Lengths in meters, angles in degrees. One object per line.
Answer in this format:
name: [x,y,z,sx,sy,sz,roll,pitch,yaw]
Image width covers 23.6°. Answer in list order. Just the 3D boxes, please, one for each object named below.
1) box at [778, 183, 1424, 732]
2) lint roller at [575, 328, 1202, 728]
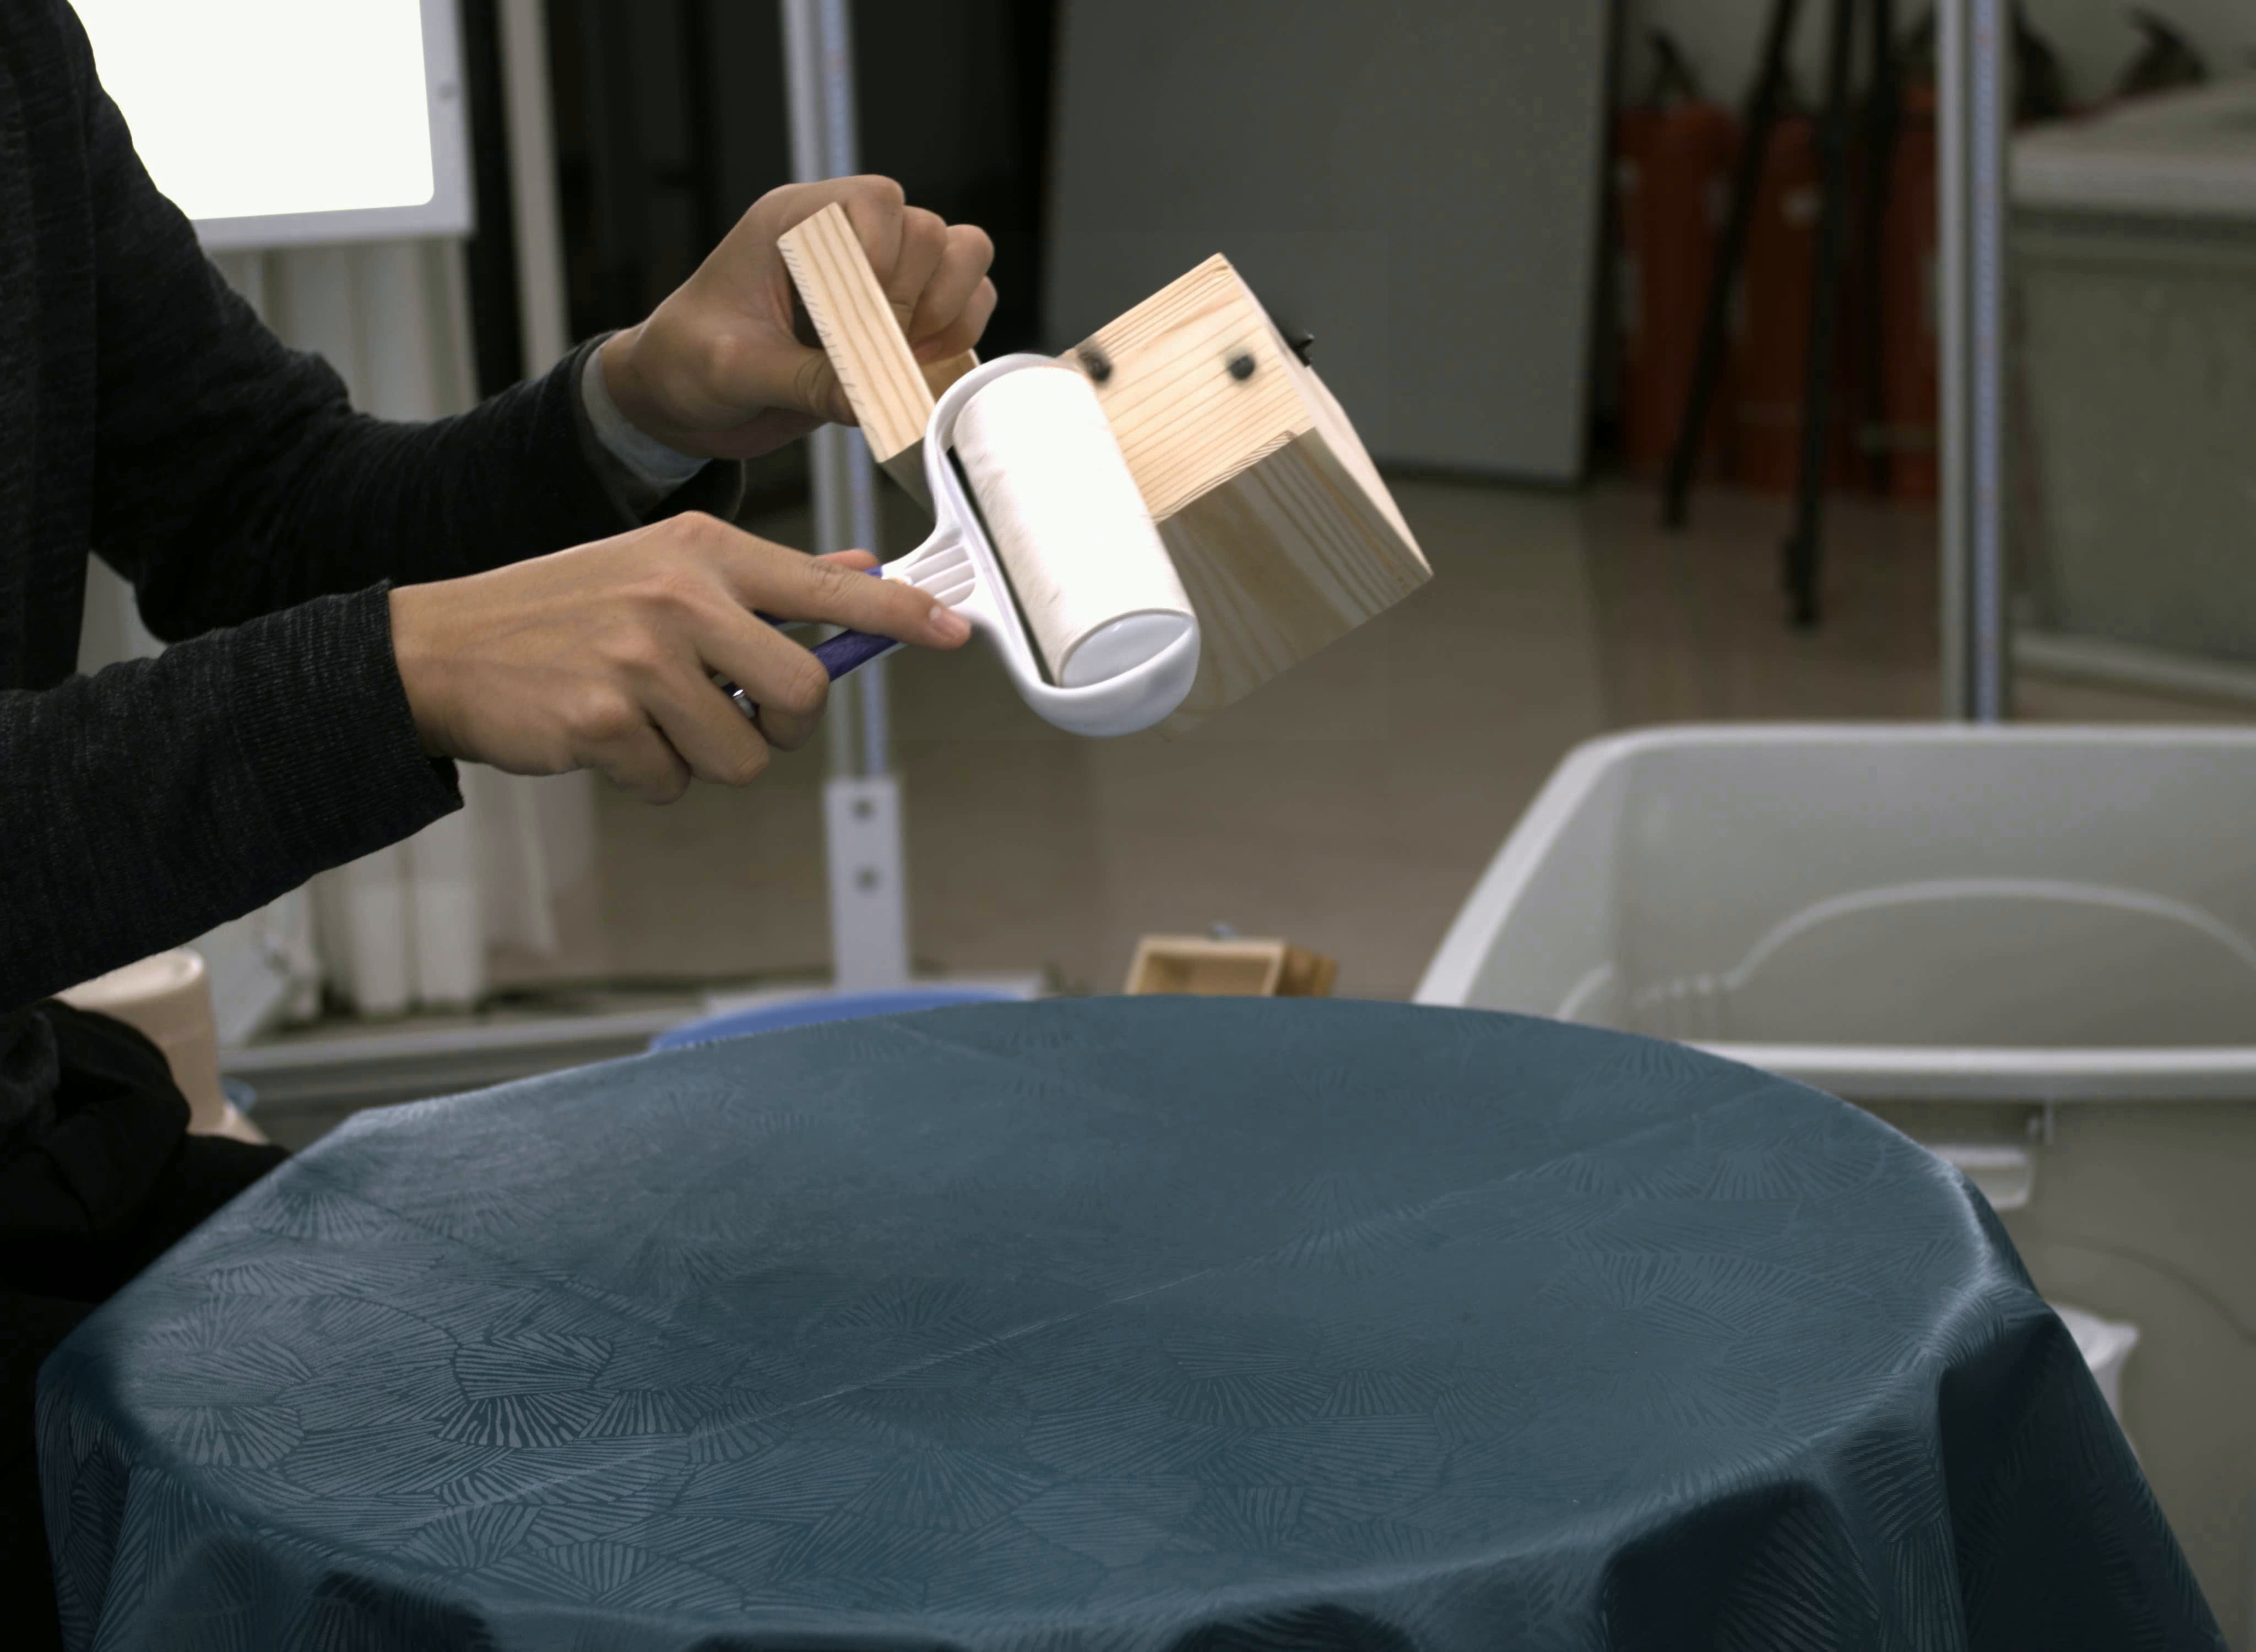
box: [-0.009,-0.139,1.702,0.134,0.101,0.187,-33,54,9]
lint roller: [-0.078,-0.074,1.581,0.178,0.050,0.134,-15,55,-9]
